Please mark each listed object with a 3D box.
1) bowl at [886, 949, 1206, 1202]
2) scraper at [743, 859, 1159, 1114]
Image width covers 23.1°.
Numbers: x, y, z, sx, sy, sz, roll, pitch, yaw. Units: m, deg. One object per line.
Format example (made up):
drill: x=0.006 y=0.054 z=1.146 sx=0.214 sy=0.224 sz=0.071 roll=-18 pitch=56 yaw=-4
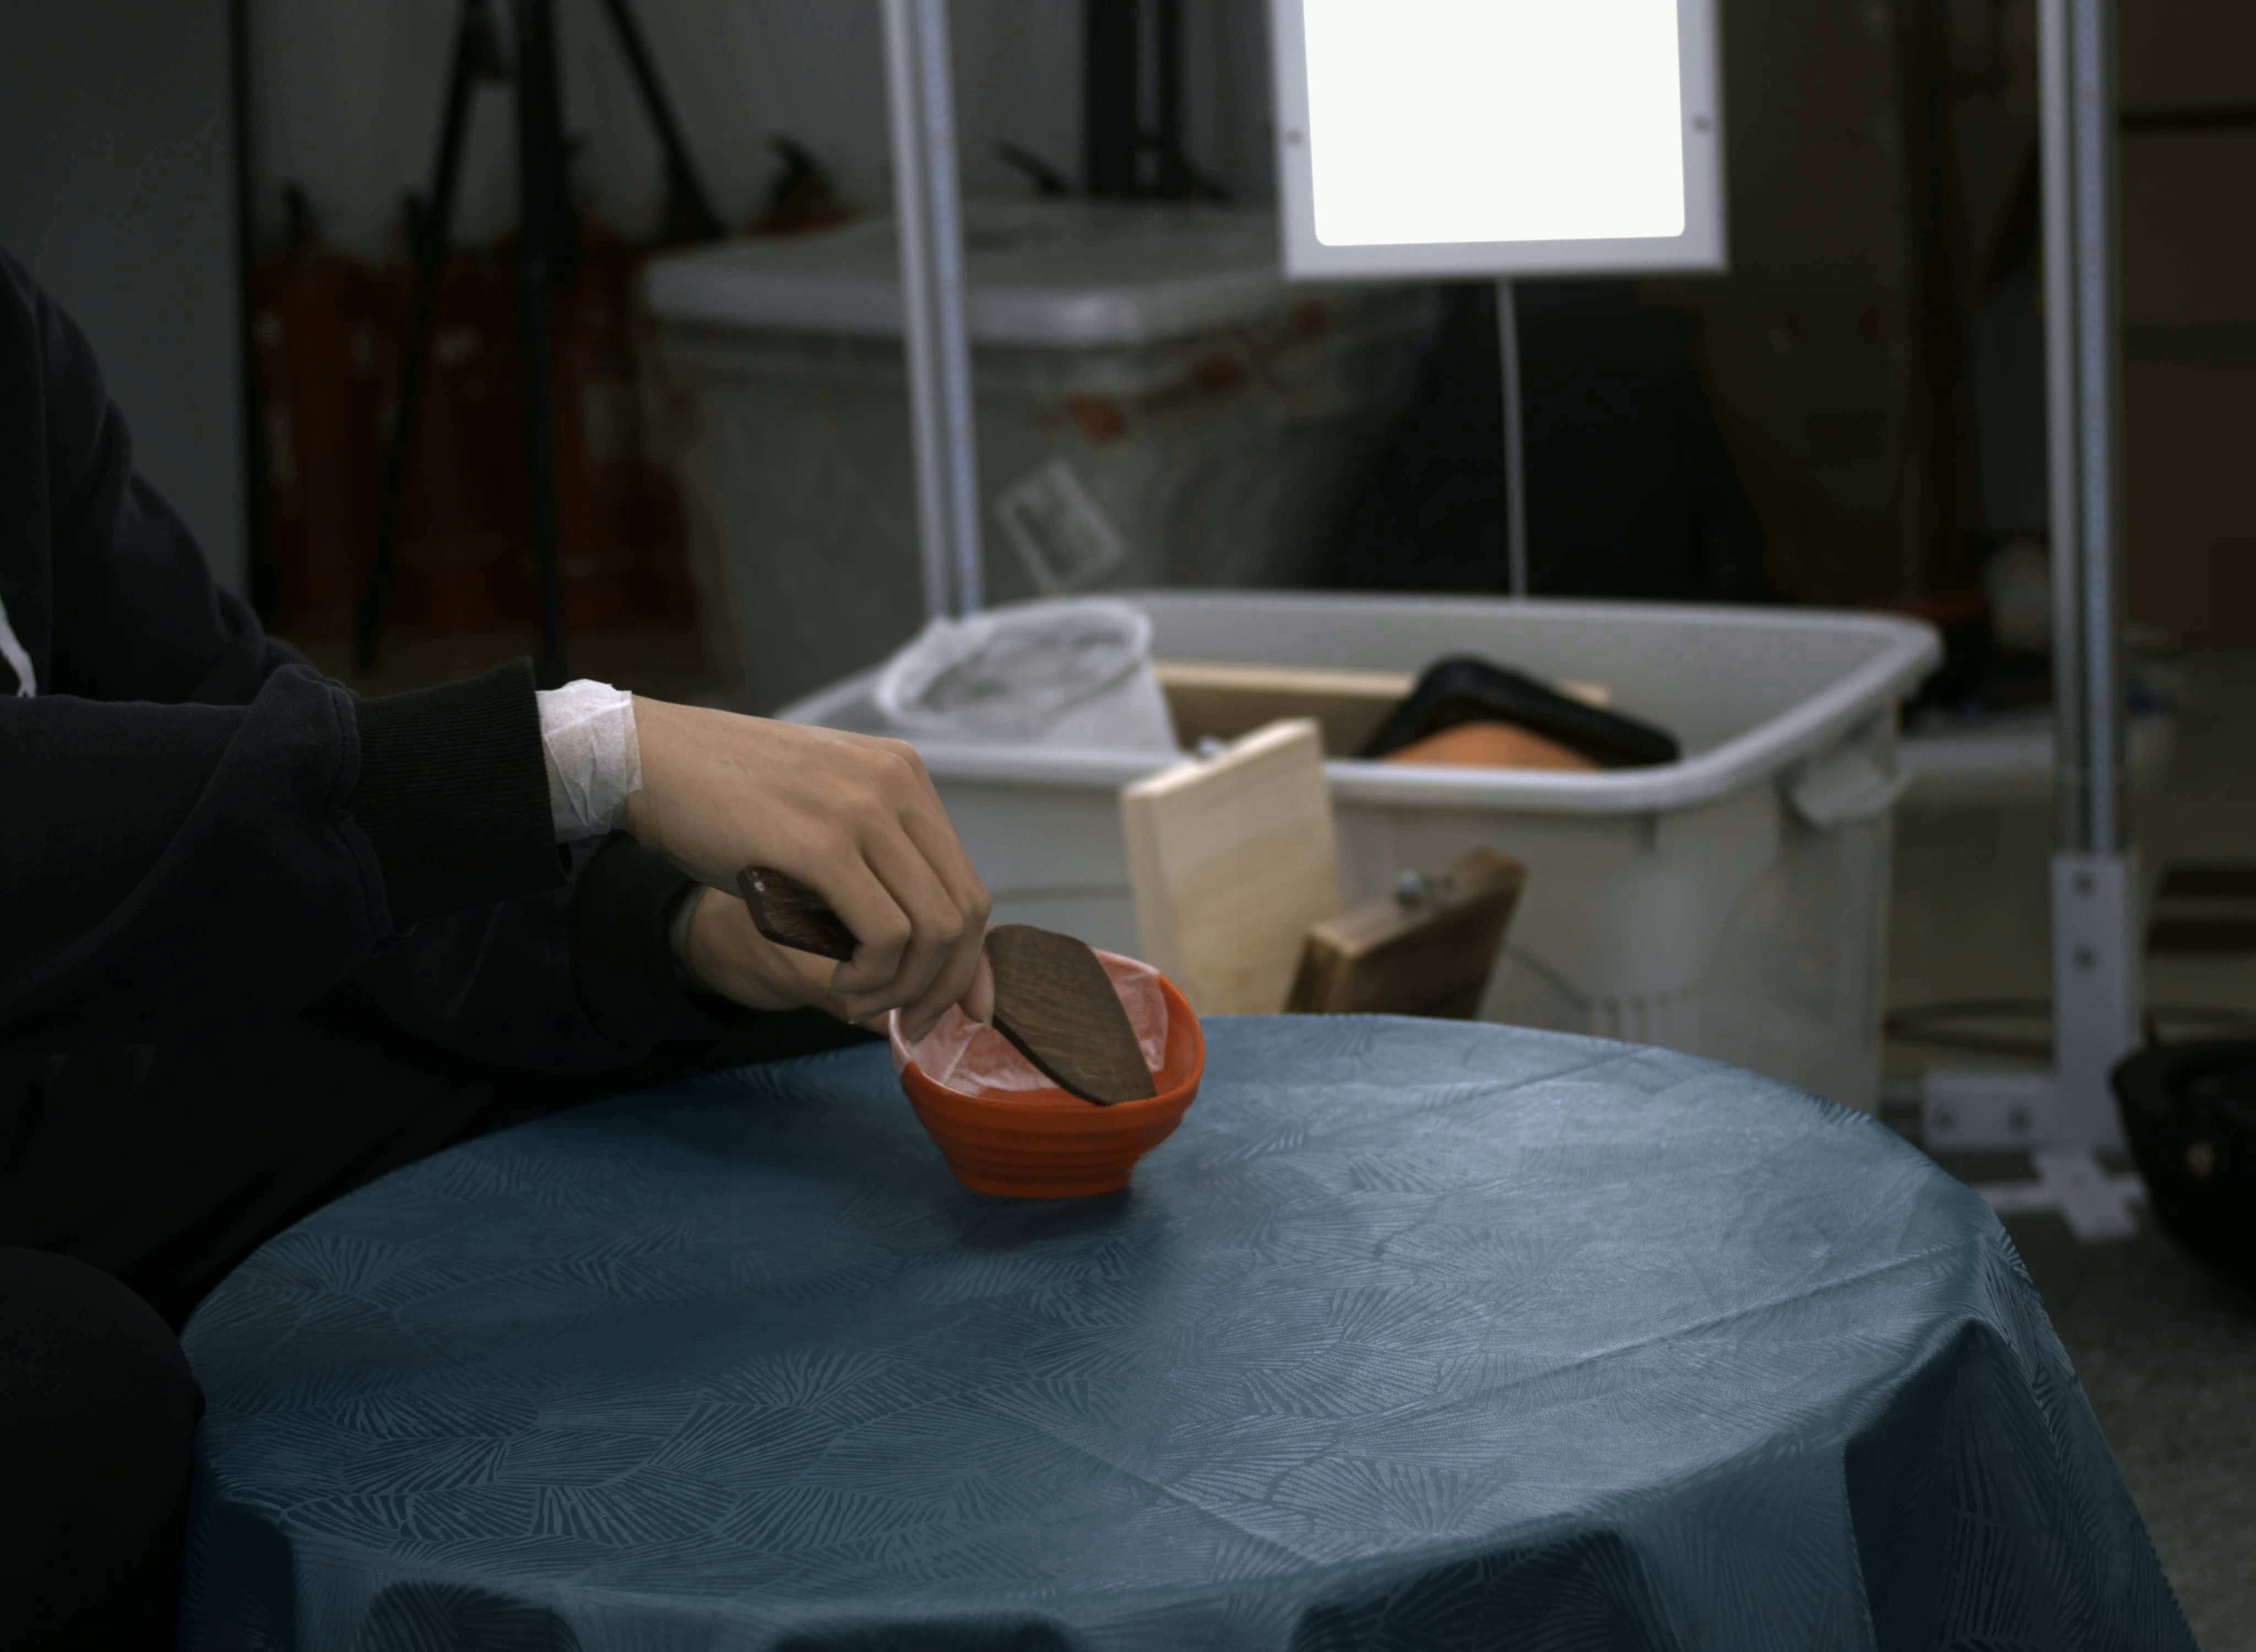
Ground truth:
bowl: x=-0.030 y=0.091 z=1.912 sx=0.118 sy=0.052 sz=0.118 roll=3 pitch=29 yaw=-3
scraper: x=-0.060 y=0.046 z=1.817 sx=0.011 sy=0.076 sz=0.207 roll=-37 pitch=-33 yaw=21
